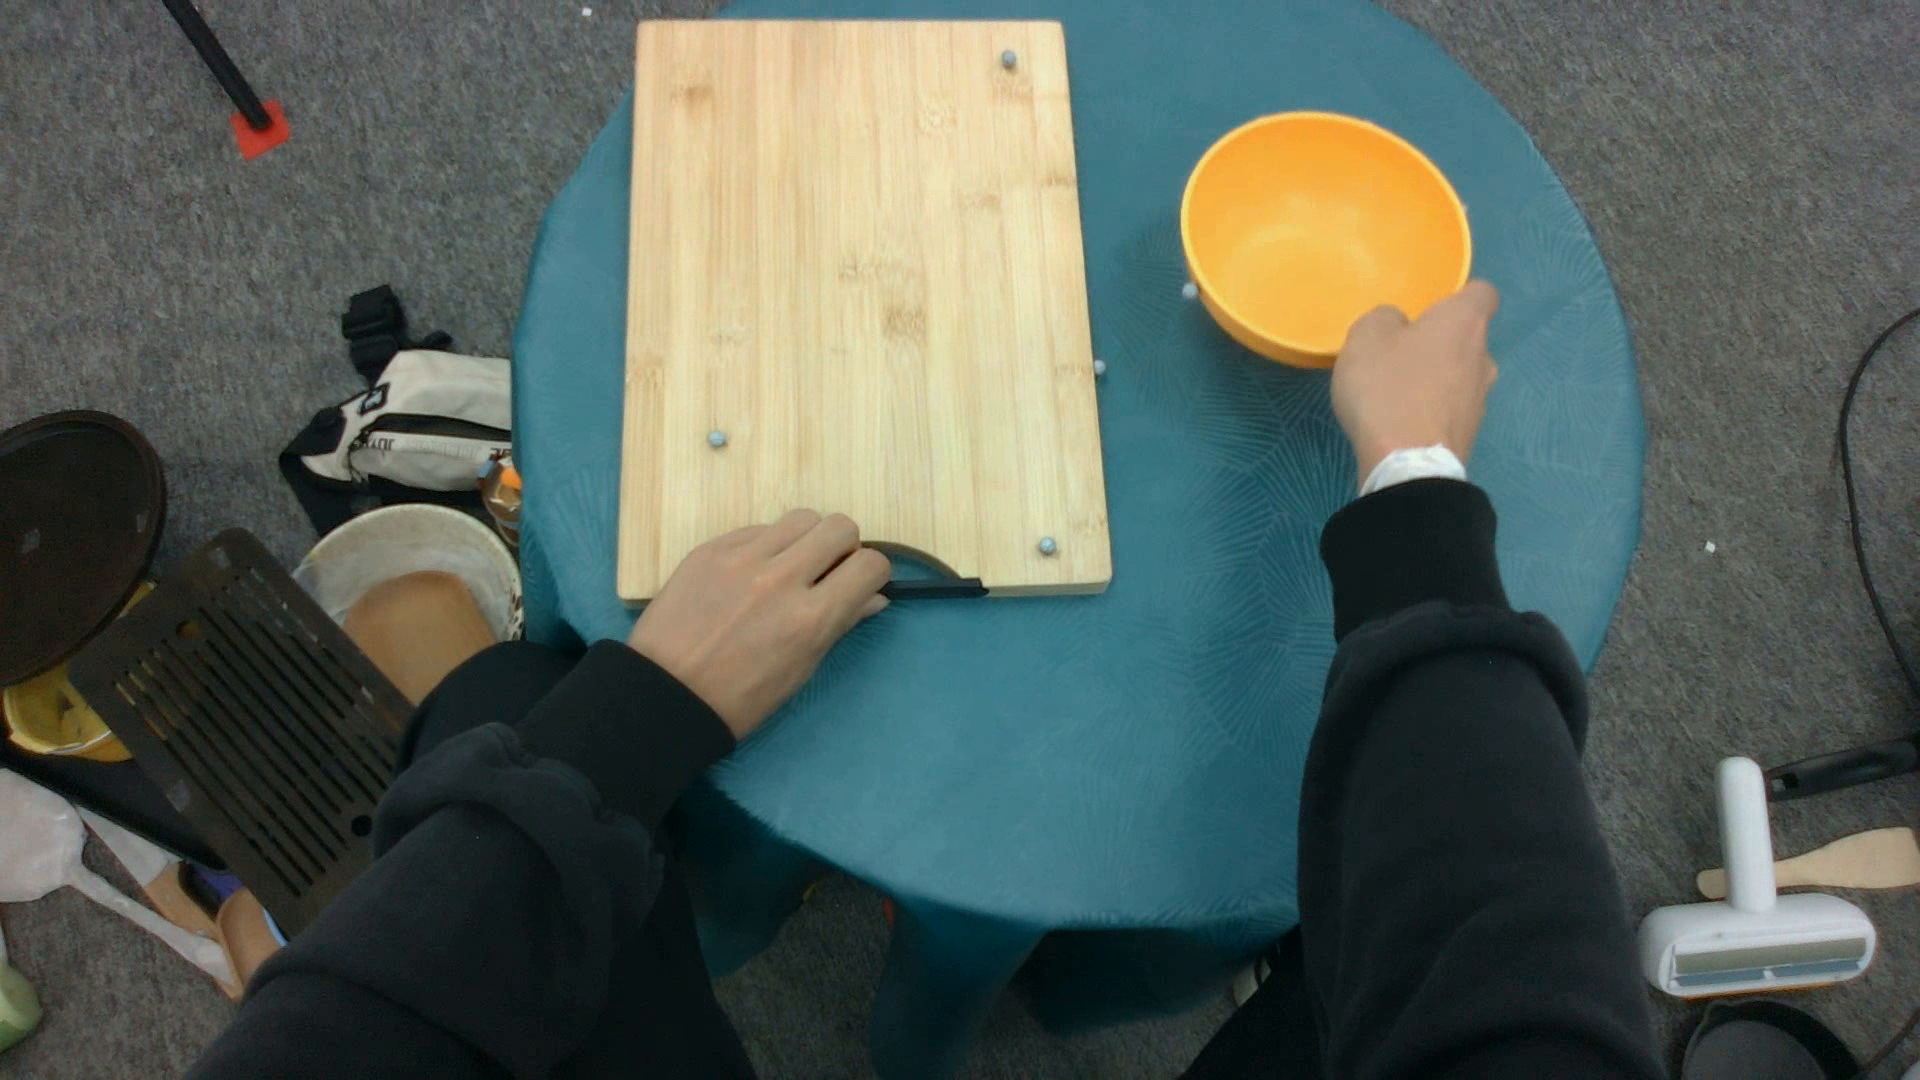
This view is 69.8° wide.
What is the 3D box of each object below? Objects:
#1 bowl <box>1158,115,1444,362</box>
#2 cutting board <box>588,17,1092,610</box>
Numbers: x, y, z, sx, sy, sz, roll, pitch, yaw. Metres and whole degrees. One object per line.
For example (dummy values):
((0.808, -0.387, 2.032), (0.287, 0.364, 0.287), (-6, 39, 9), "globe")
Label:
((0.173, -0.148, 0.725), (0.145, 0.060, 0.146), (0, 67, 0), "bowl")
((-0.066, -0.133, 0.729), (0.251, 0.023, 0.349), (-3, 69, -5), "cutting board")
